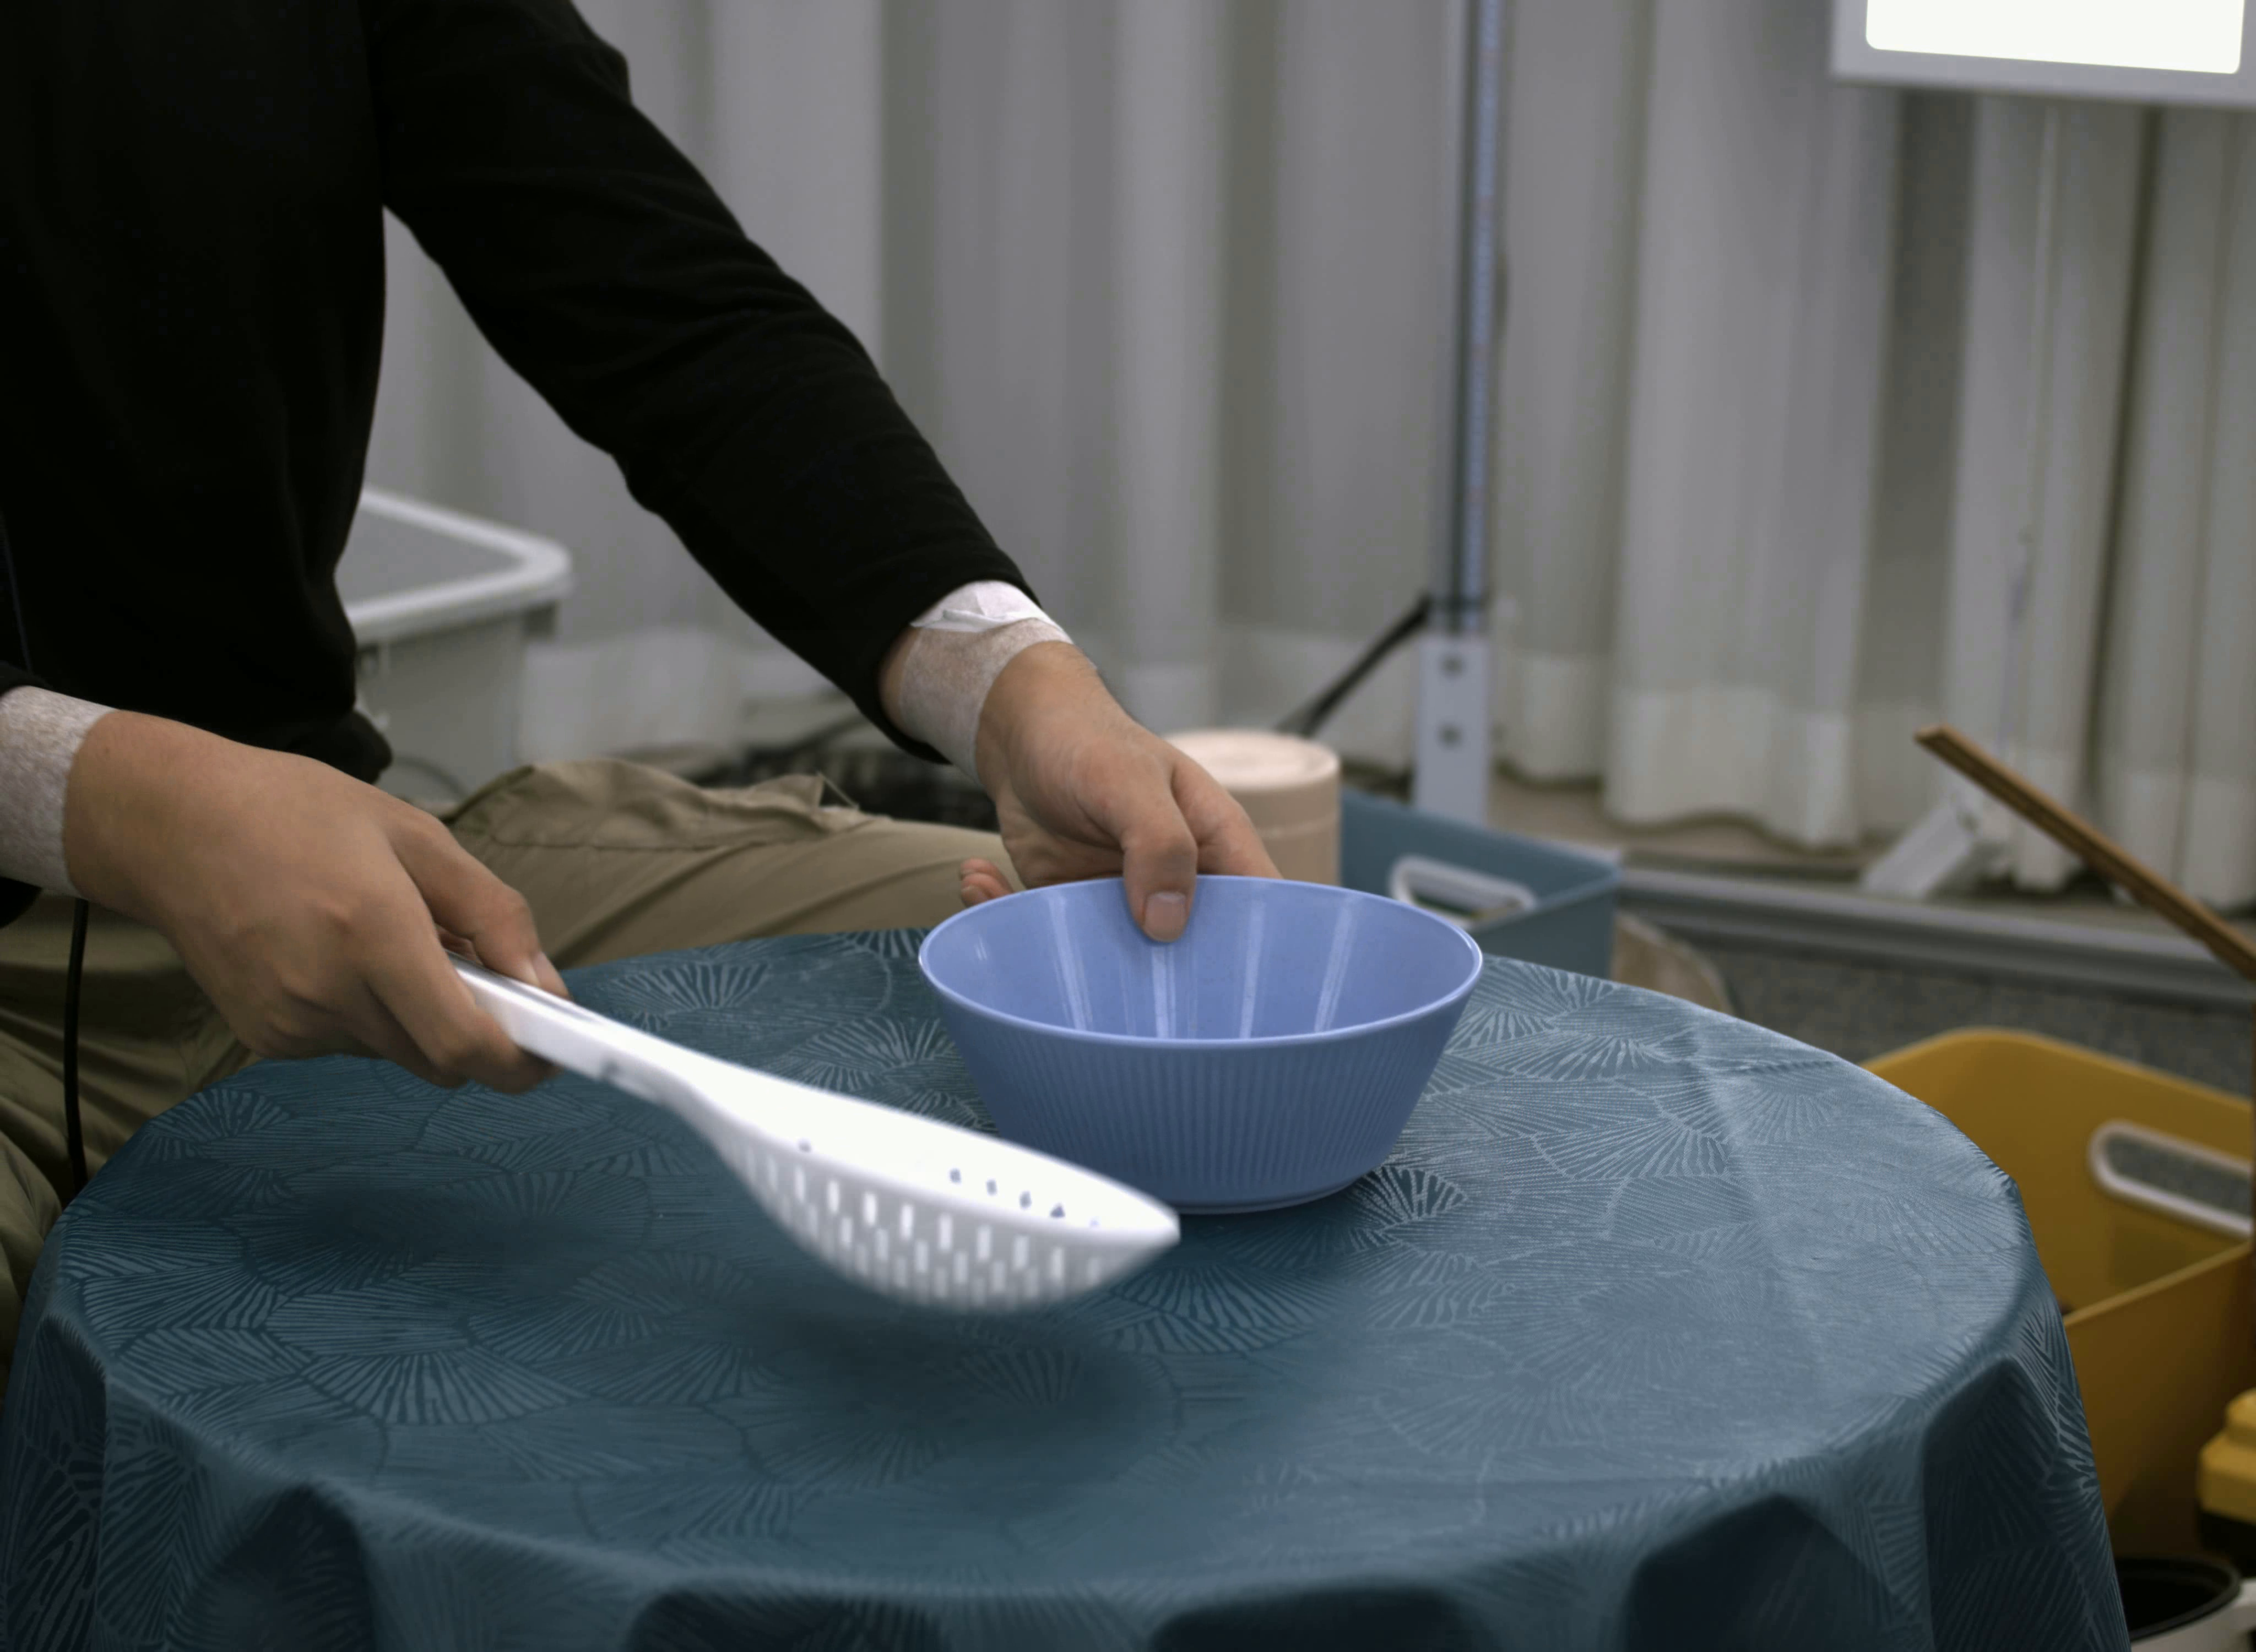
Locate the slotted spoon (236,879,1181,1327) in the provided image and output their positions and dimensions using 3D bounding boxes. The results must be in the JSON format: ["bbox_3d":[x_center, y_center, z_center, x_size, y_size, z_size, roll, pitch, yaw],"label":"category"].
[{"bbox_3d":[-0.134,0.073,1.514,0.345,0.046,0.137,26,11,34],"label":"slotted spoon"}]

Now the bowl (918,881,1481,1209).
[{"bbox_3d":[0.022,0.070,1.642,0.175,0.071,0.175,1,15,0],"label":"bowl"}]
